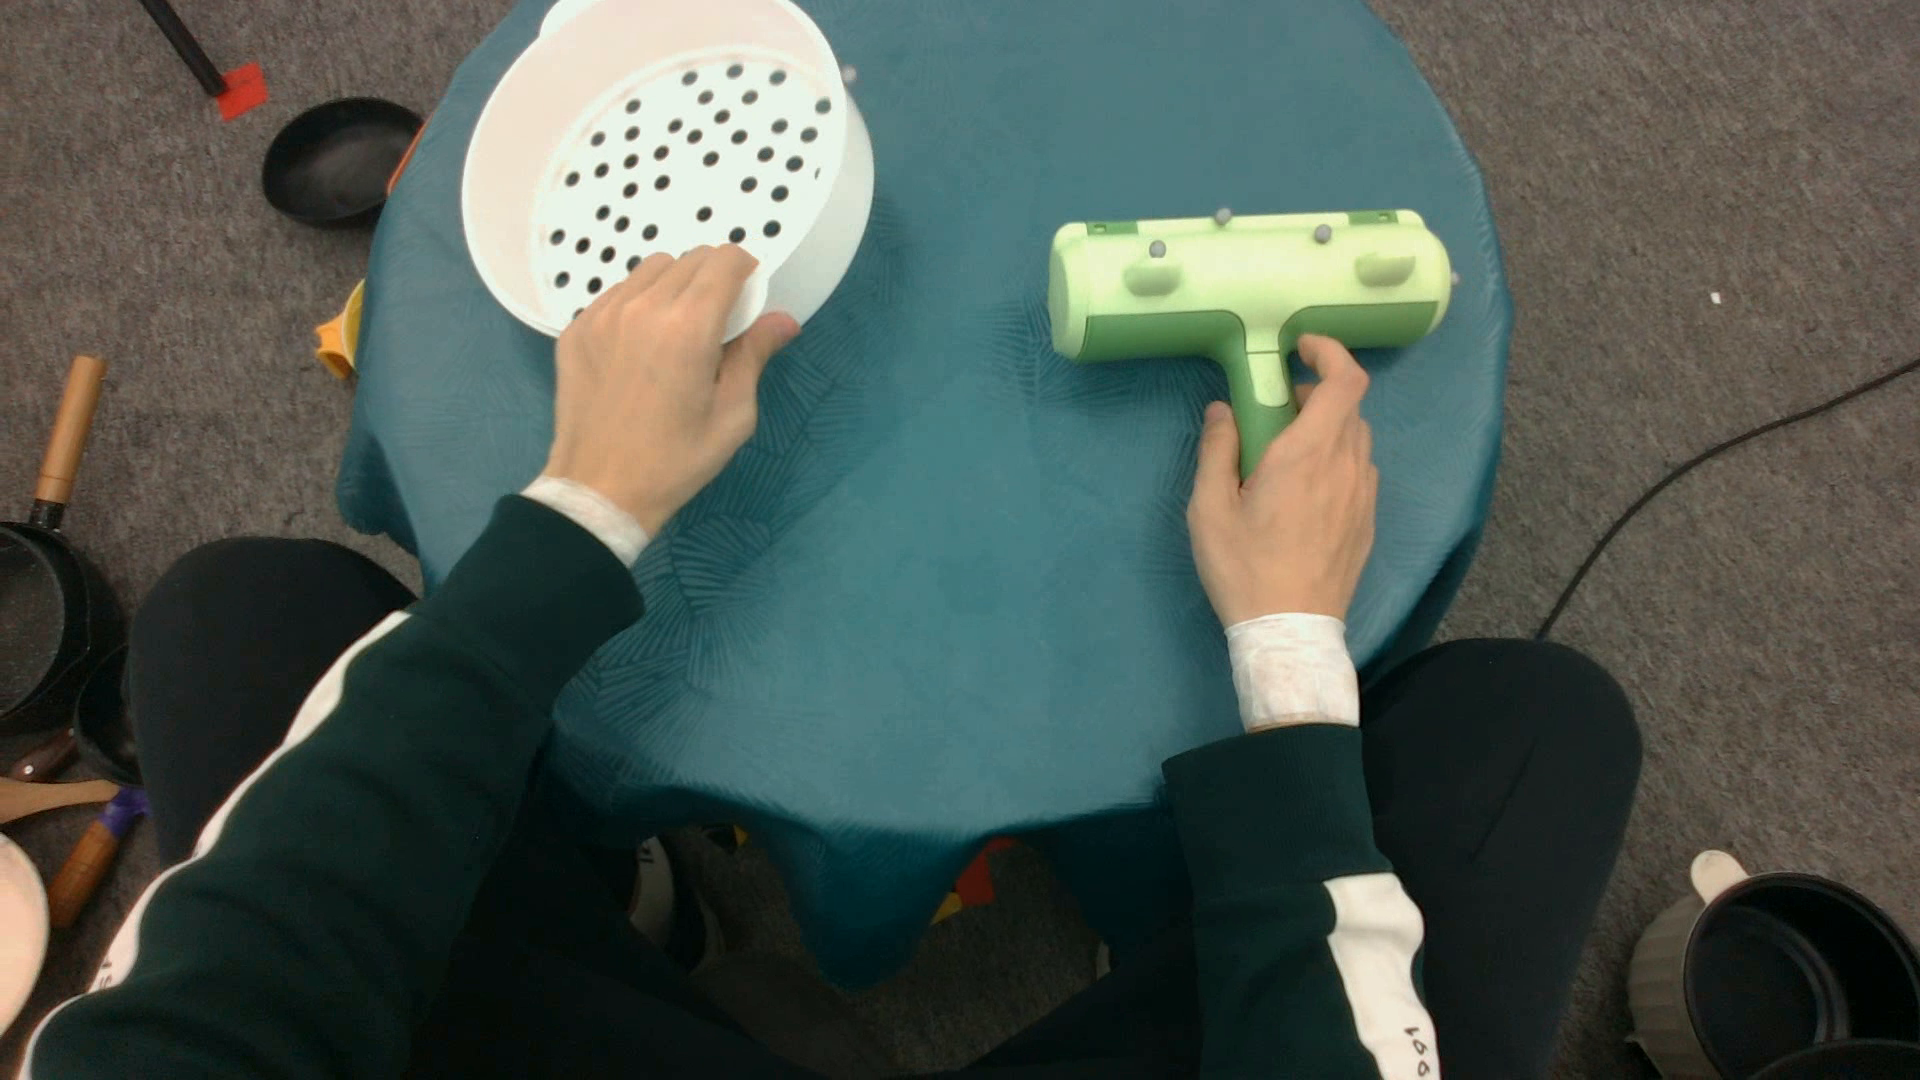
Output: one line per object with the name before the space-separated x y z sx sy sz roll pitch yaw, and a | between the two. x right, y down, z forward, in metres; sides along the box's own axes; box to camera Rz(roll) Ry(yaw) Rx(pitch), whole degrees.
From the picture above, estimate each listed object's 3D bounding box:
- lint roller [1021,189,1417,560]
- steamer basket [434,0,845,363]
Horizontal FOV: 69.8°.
lint roller | 0.139 -0.087 0.659 0.199 0.082 0.184 -5 69 -13
steamer basket | -0.157 -0.186 0.681 0.201 0.069 0.231 -26 67 10
